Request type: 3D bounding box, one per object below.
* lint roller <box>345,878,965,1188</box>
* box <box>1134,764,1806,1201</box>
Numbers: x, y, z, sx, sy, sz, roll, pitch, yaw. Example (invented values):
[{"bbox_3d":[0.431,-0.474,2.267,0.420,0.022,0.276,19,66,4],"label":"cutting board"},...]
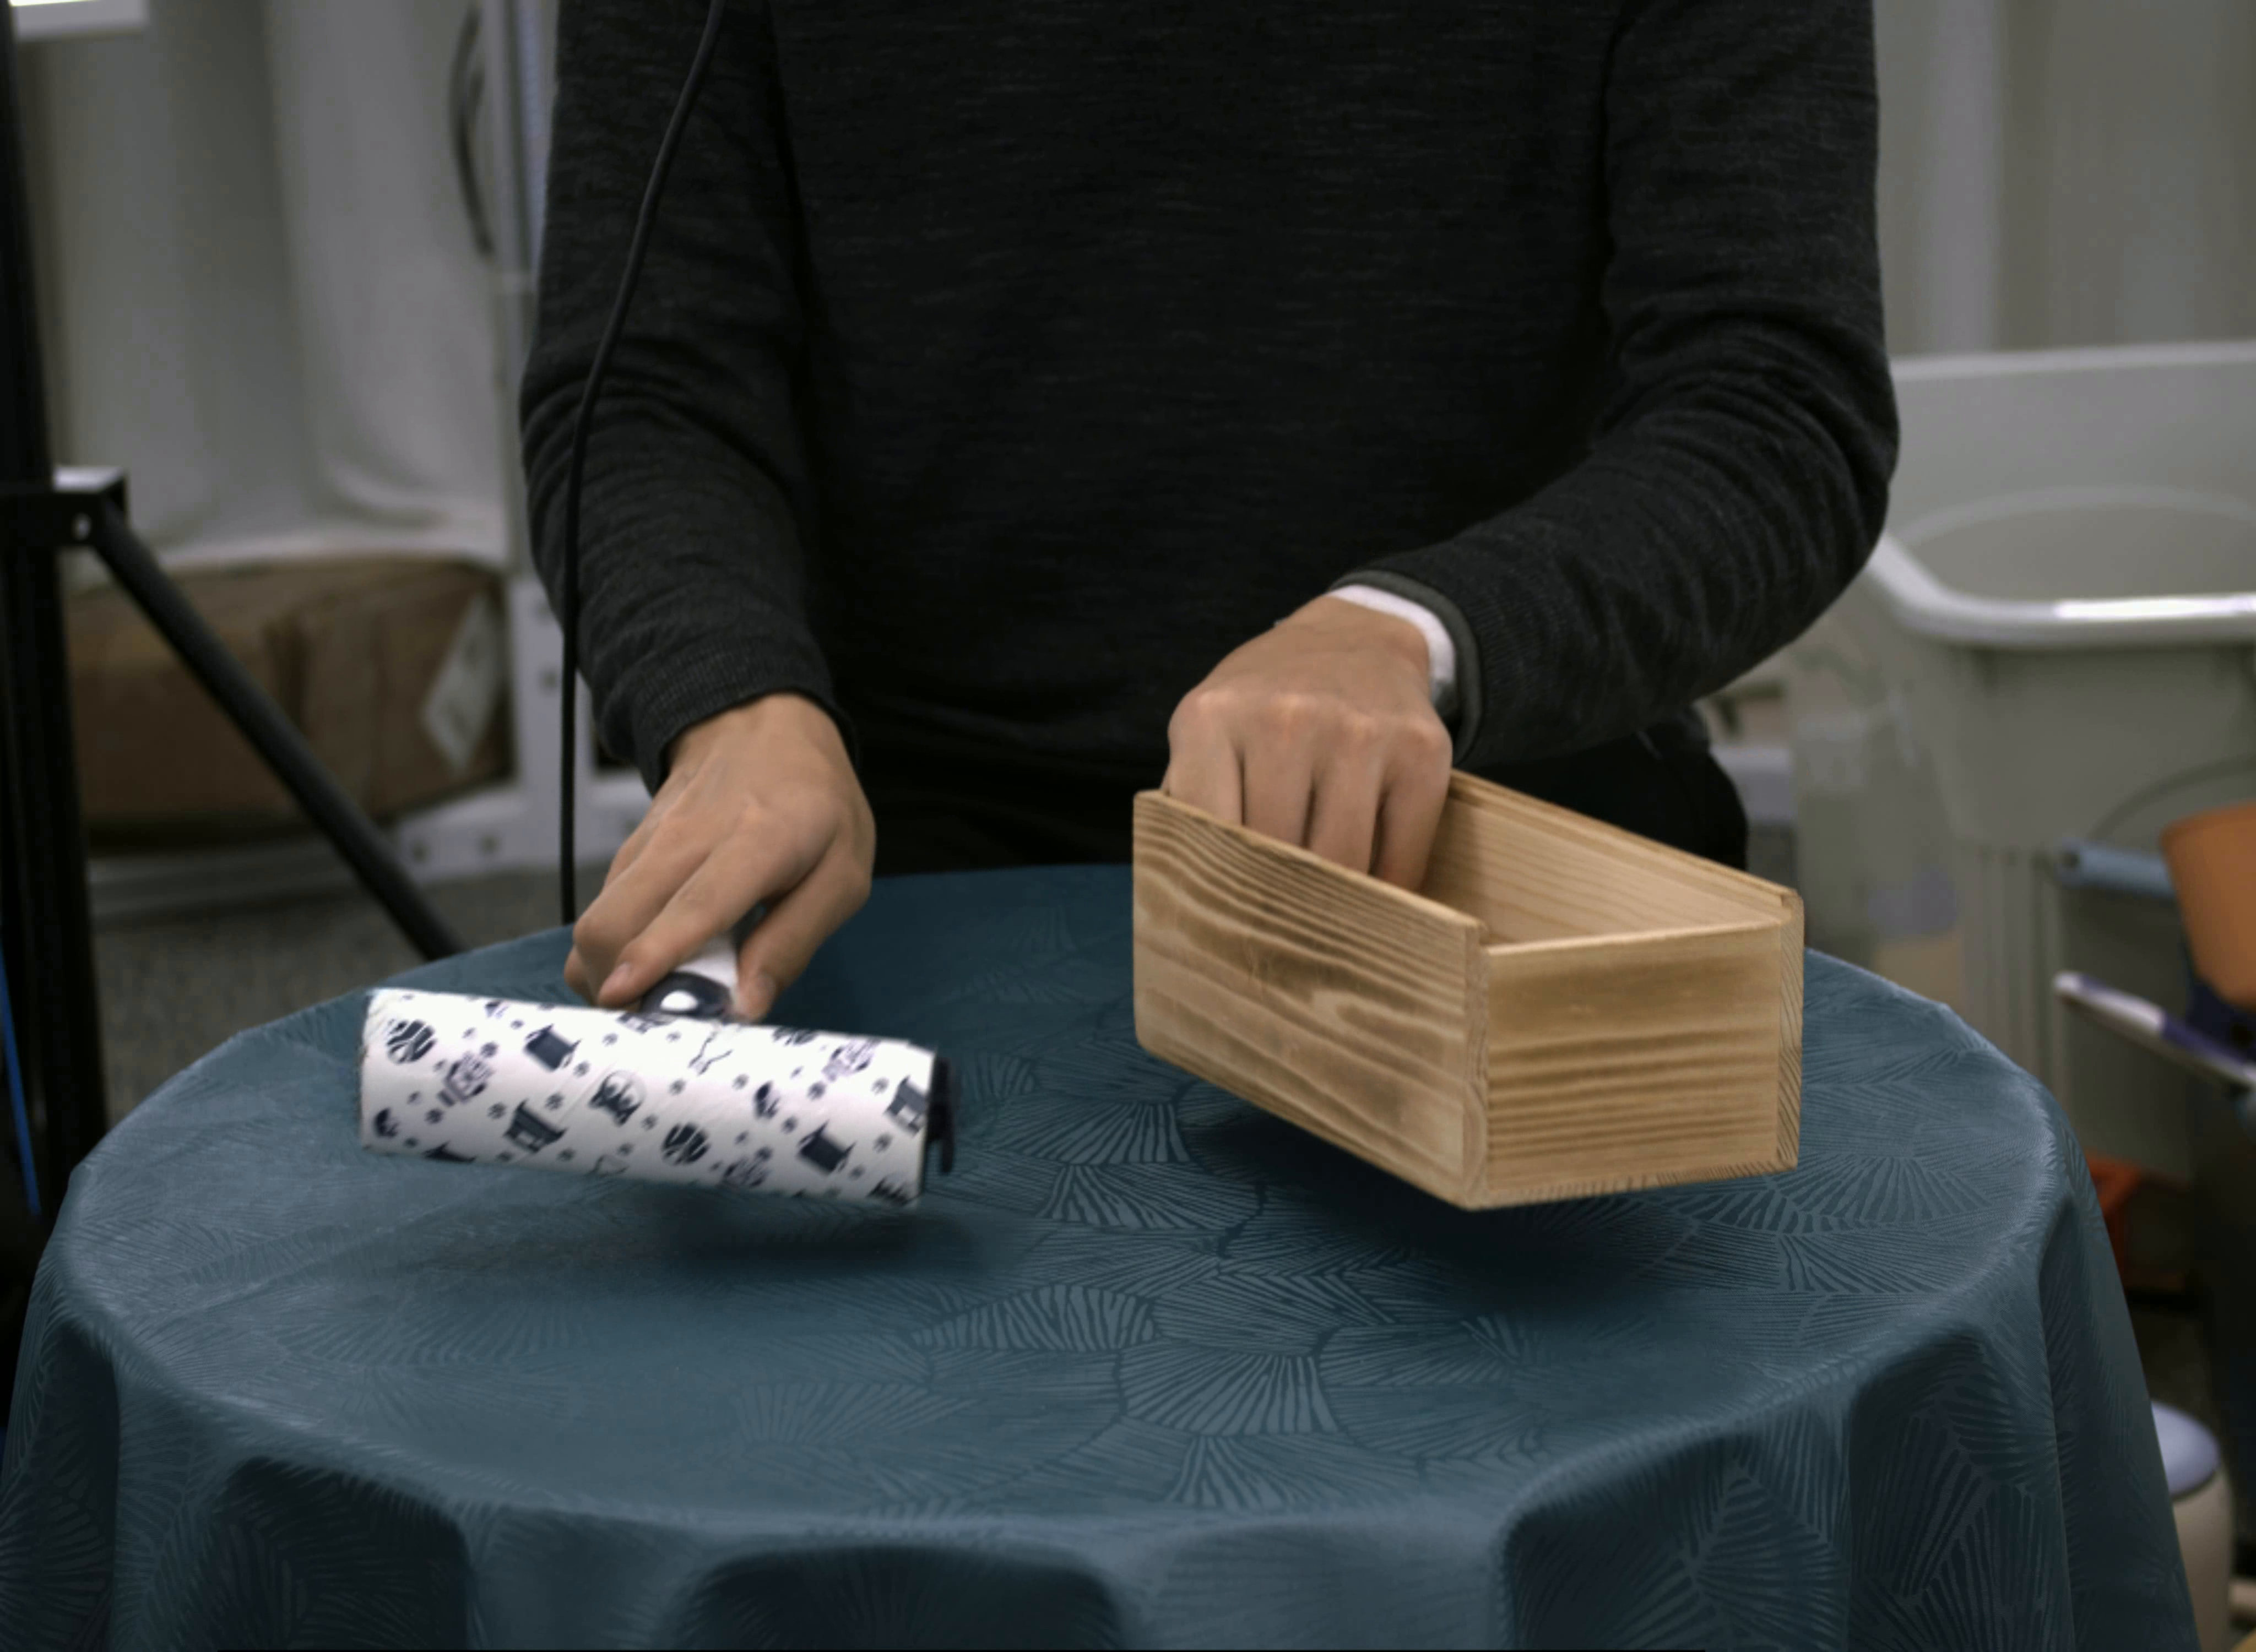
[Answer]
[{"bbox_3d":[-0.134,0.049,1.616,0.175,0.050,0.248,4,15,0],"label":"lint roller"},{"bbox_3d":[0.094,0.041,1.526,0.105,0.080,0.215,-4,11,-24],"label":"box"}]
